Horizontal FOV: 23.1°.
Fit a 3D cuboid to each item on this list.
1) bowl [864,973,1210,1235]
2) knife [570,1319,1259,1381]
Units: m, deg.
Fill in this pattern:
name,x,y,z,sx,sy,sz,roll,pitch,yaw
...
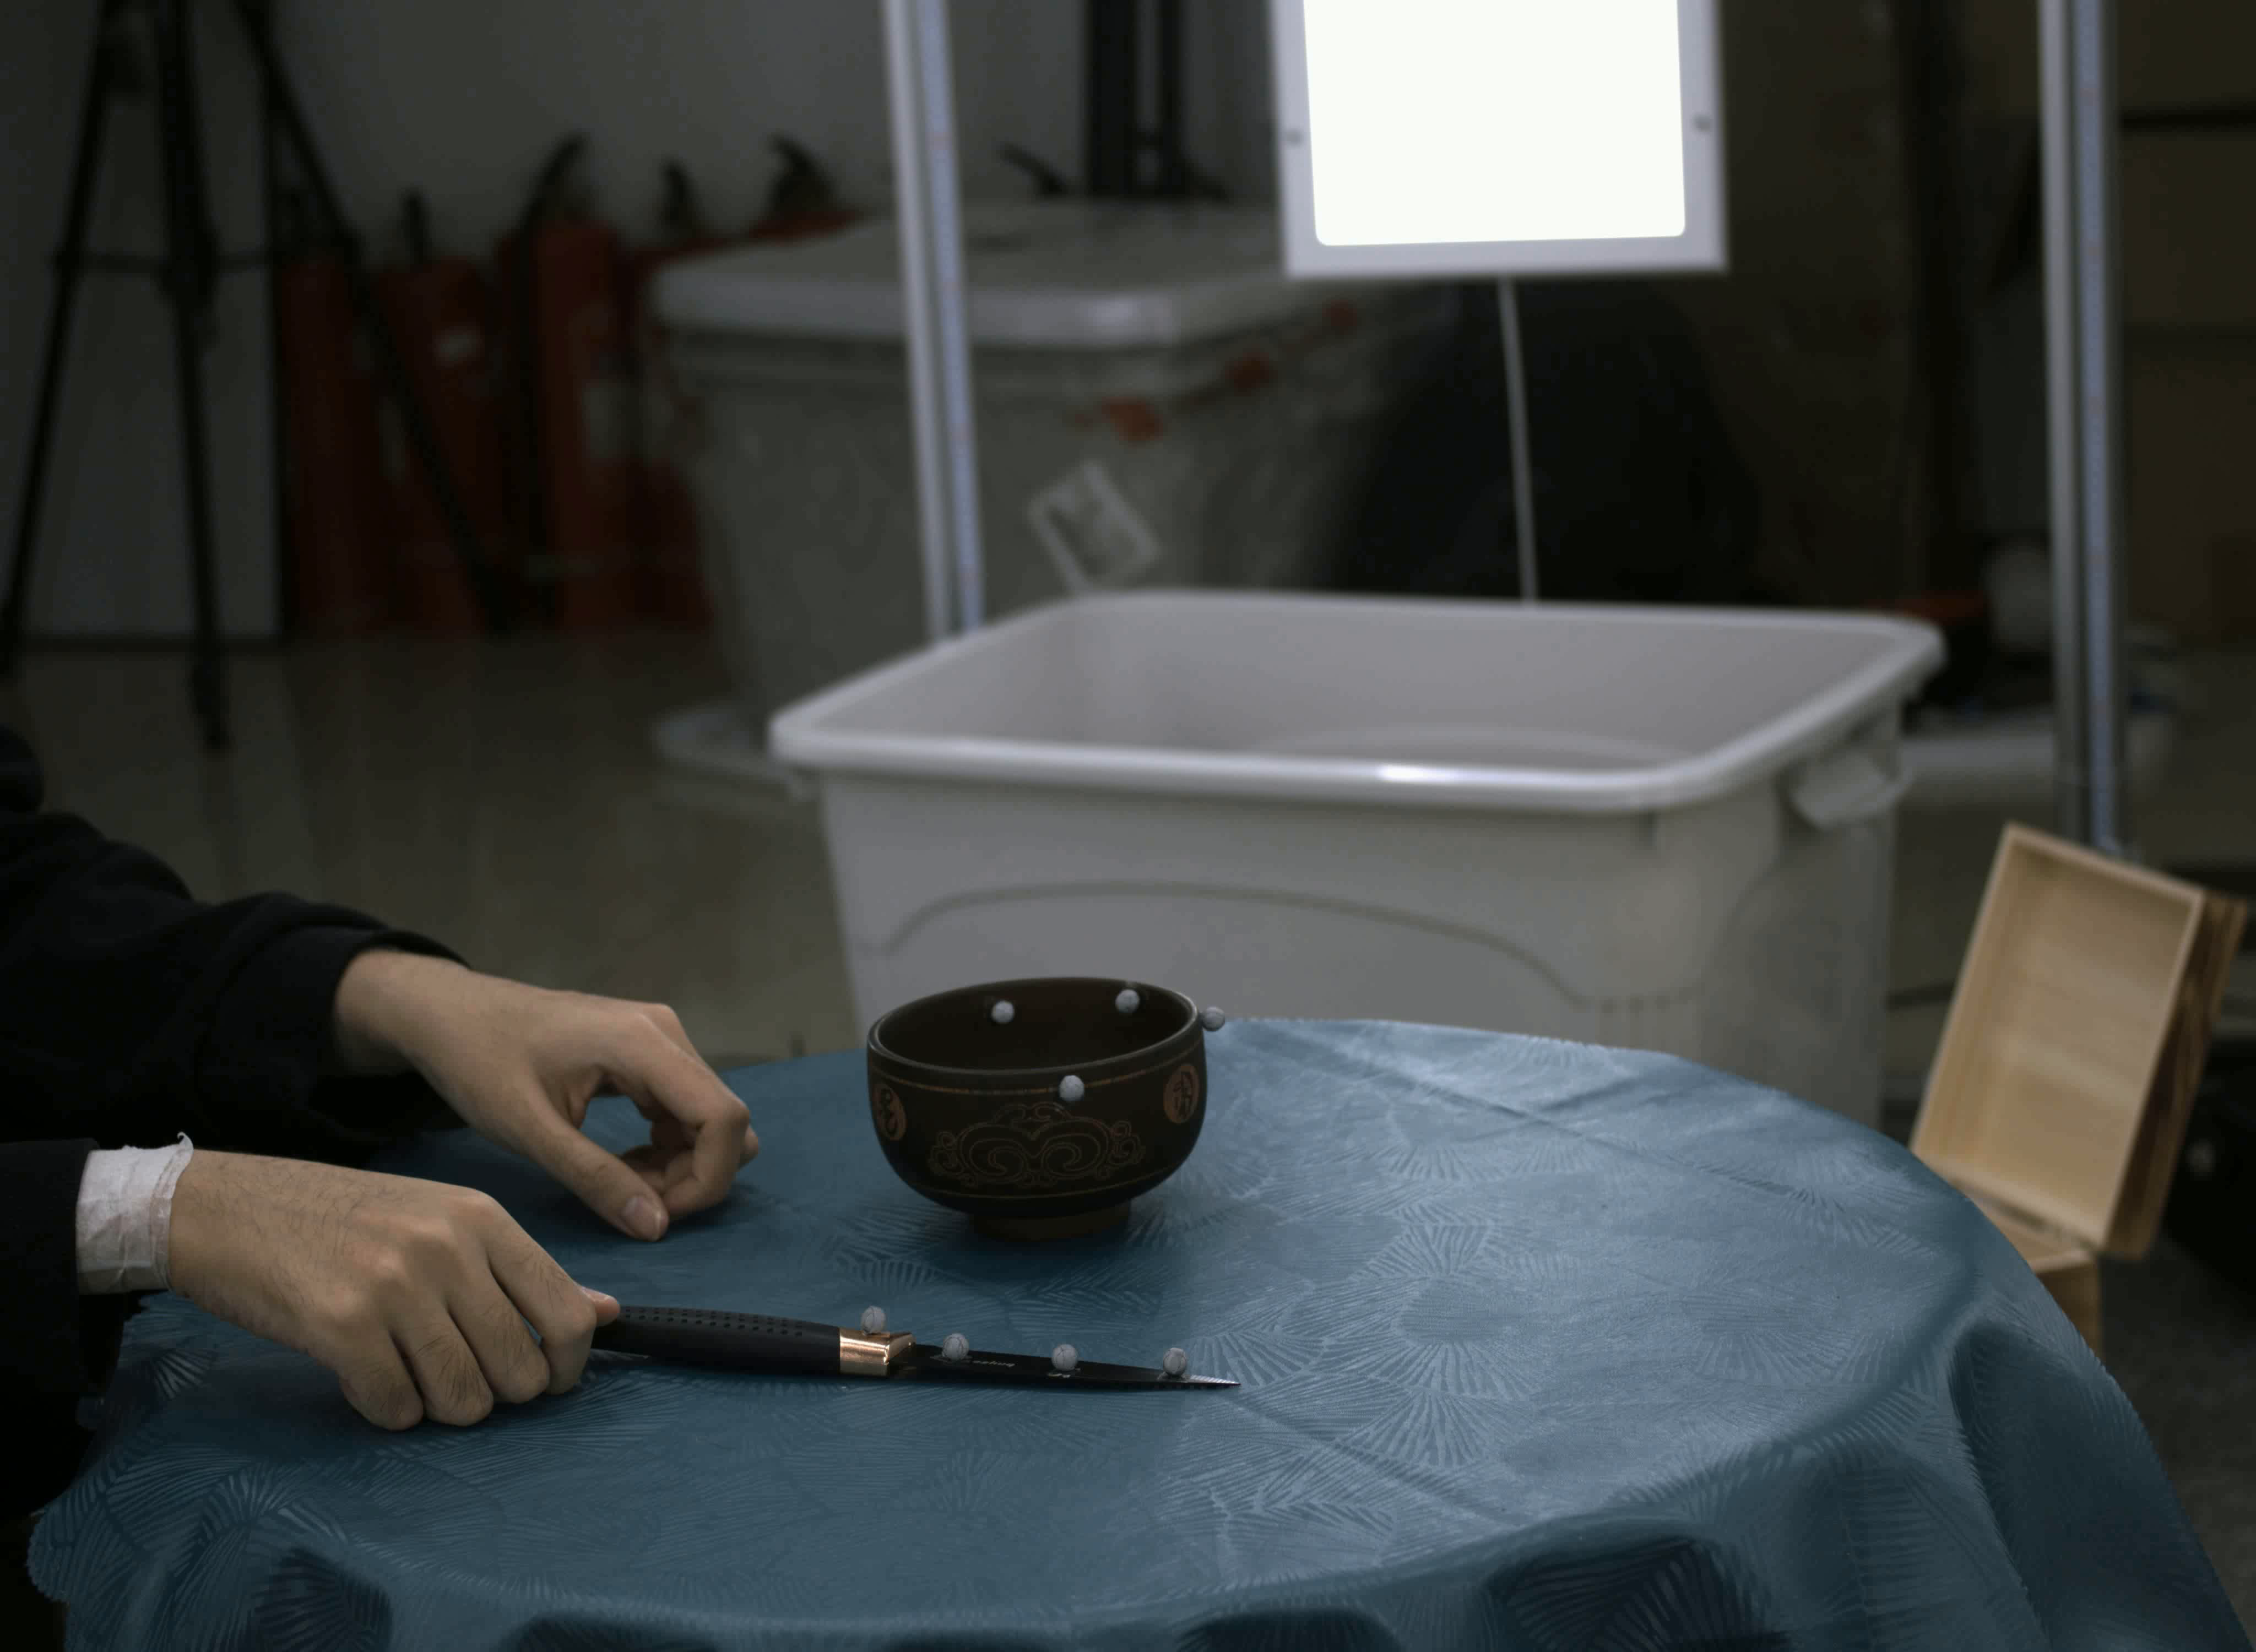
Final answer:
name,x,y,z,sx,sy,sz,roll,pitch,yaw
bowl,-0.029,0.097,1.869,0.118,0.070,0.118,-7,12,0
knife,-0.069,0.167,1.737,0.228,0.017,0.026,1,8,19
